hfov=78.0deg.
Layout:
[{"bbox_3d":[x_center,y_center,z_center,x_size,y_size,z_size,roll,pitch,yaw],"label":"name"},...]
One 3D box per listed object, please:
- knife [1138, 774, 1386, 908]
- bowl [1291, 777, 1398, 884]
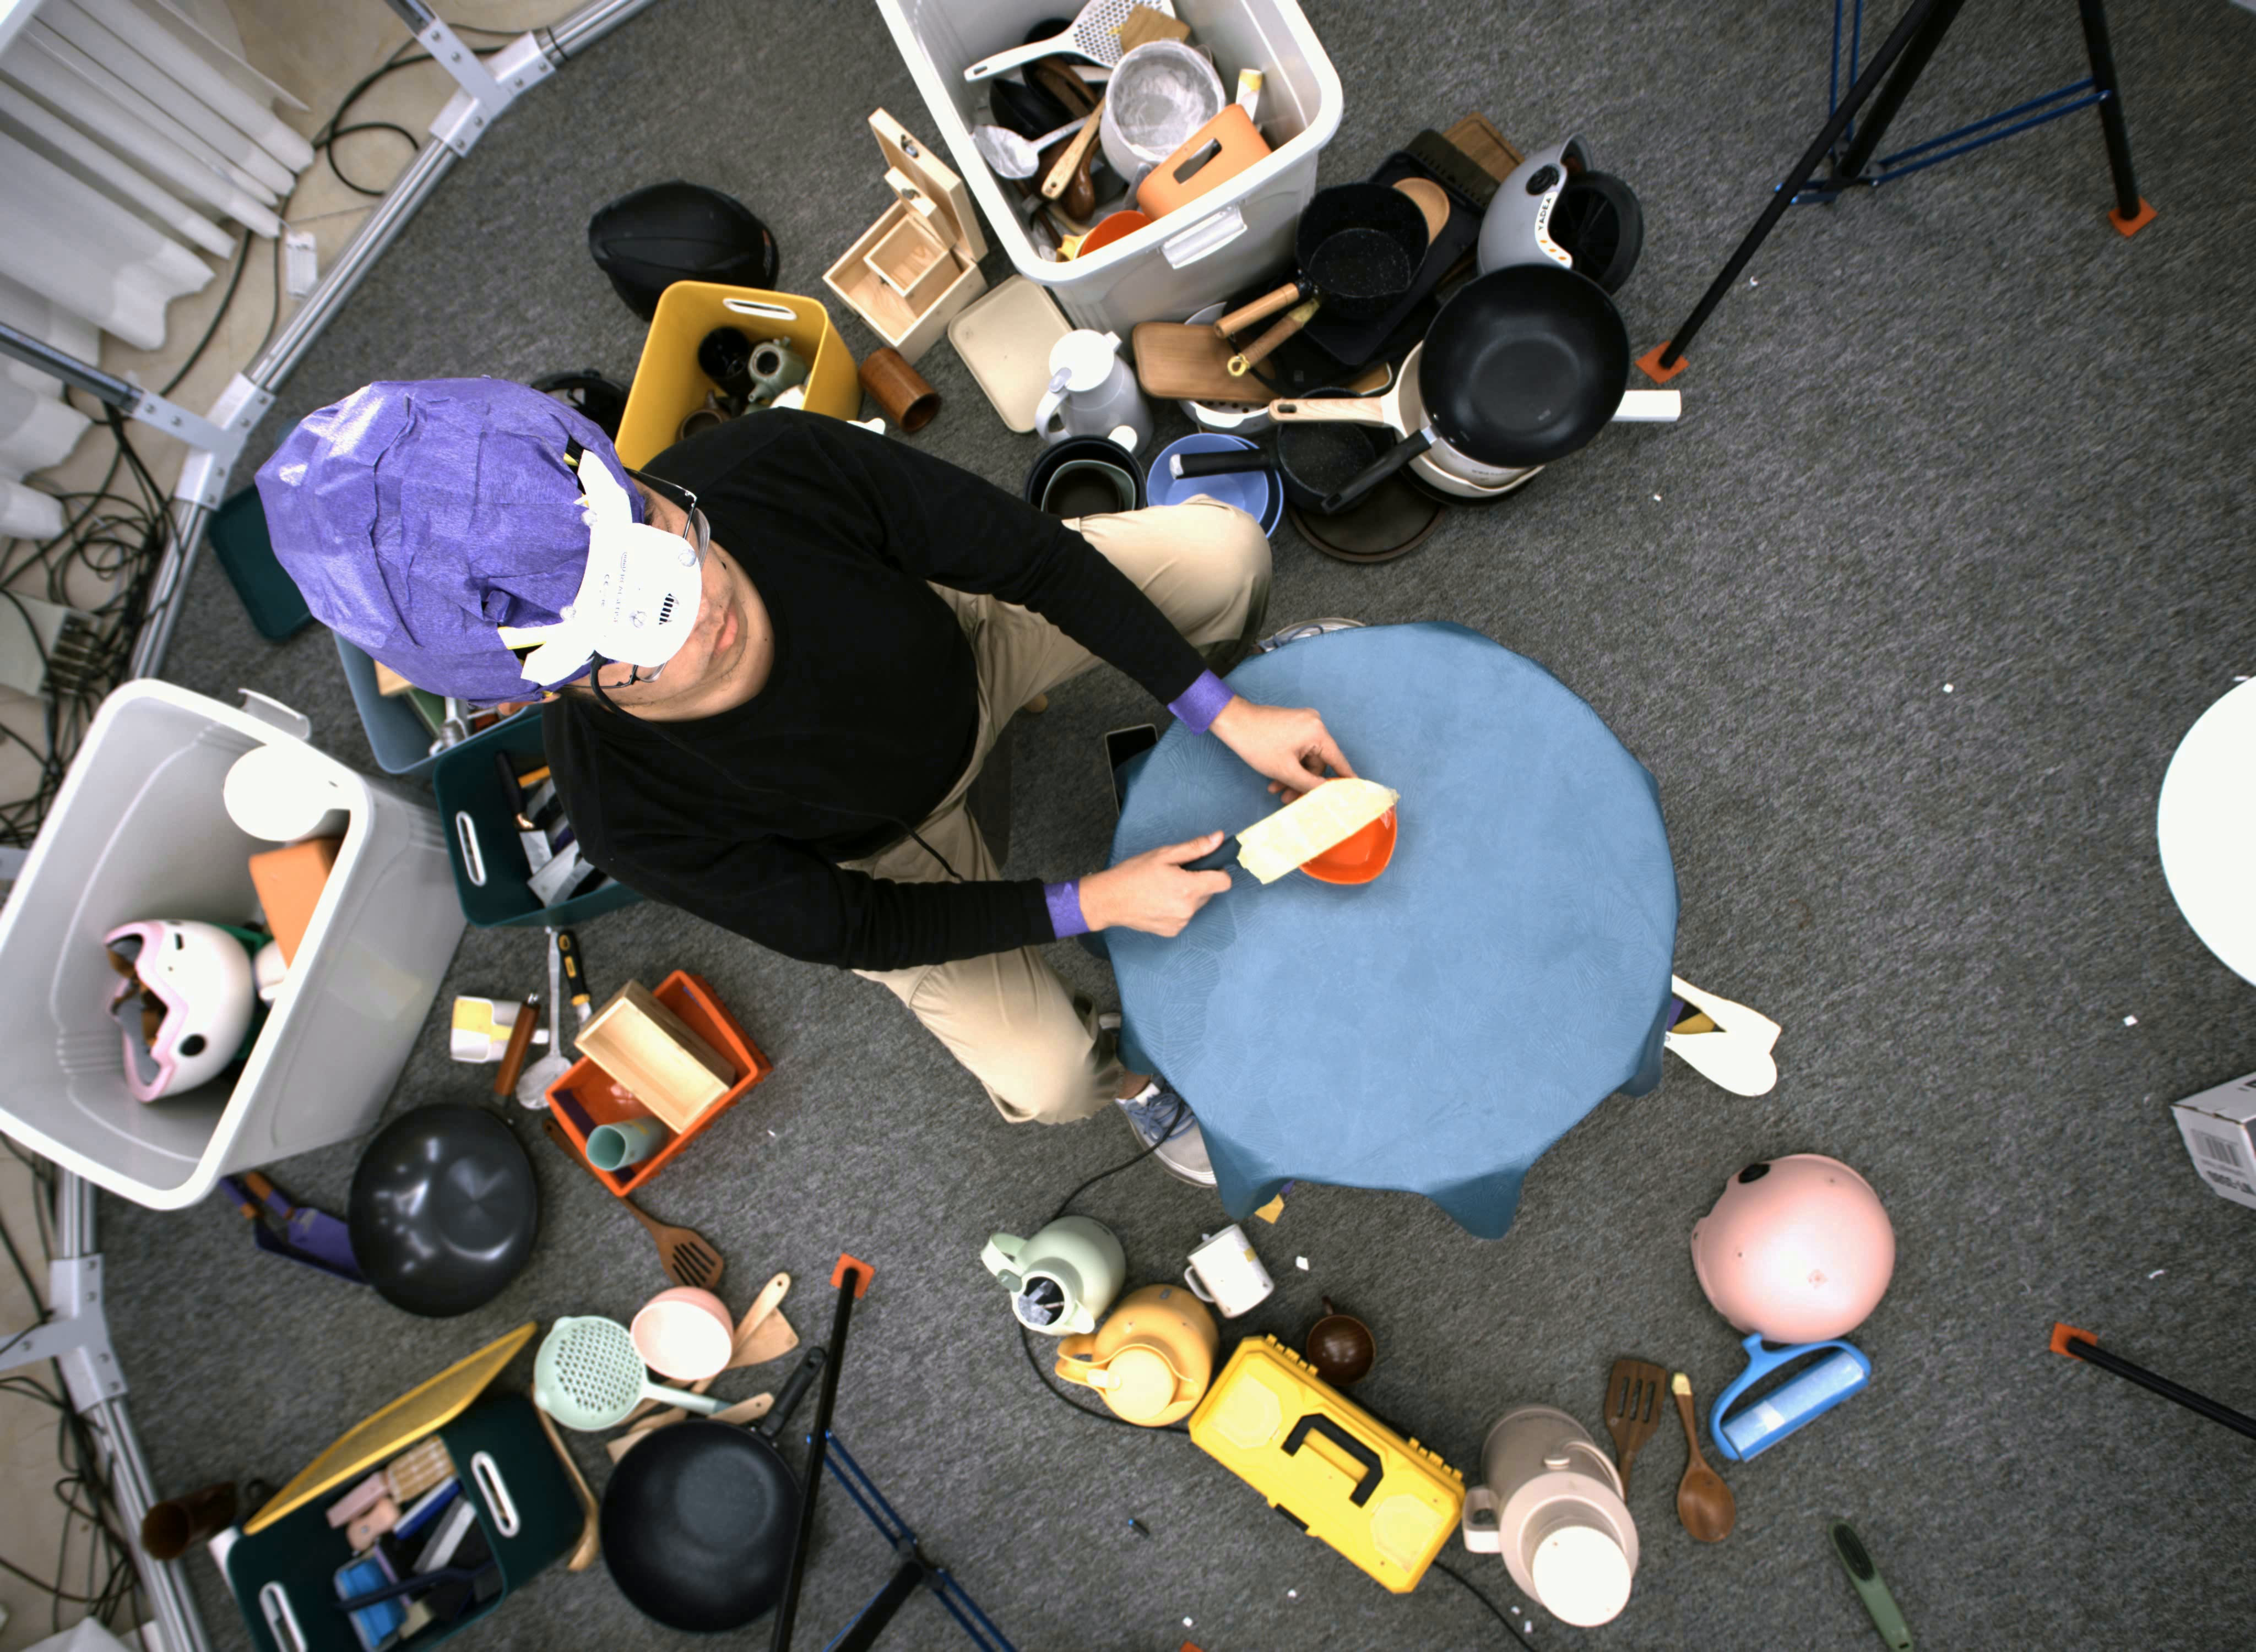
[{"bbox_3d":[0.136,0.022,1.420,0.294,0.026,0.082,-28,123,24],"label":"knife"},{"bbox_3d":[0.226,0.005,1.446,0.119,0.051,0.118,0,89,10],"label":"bowl"}]
